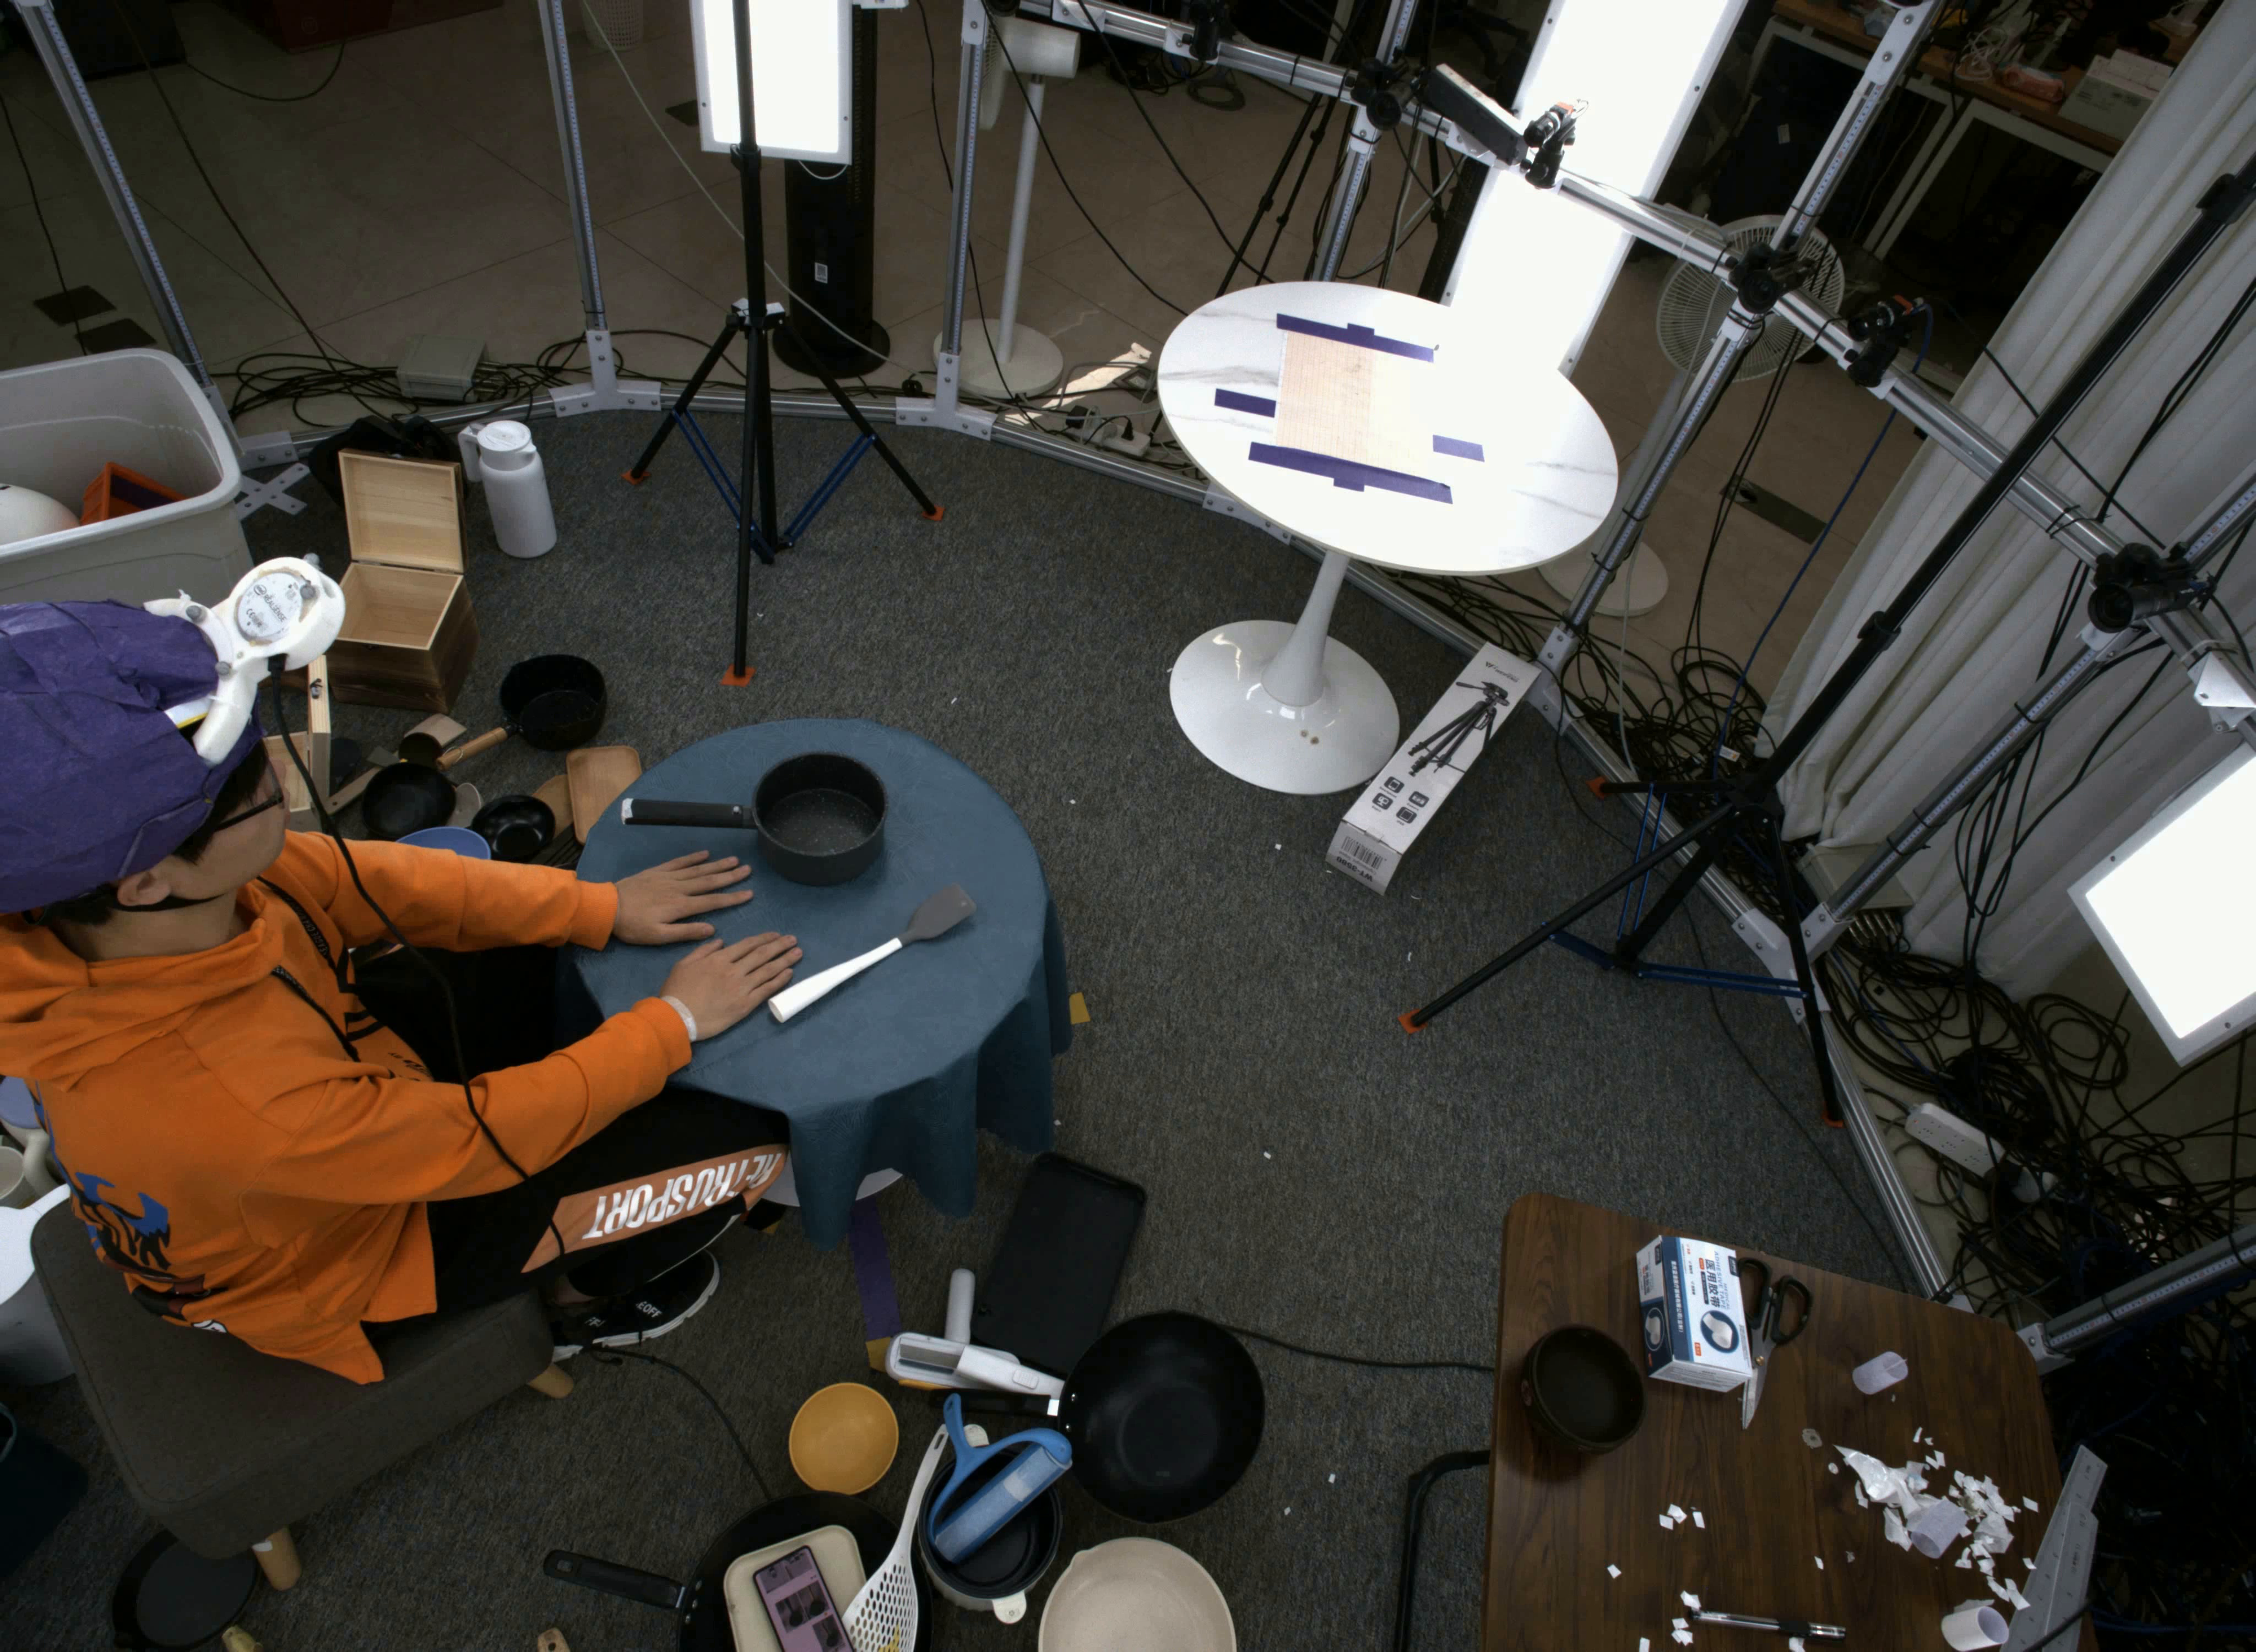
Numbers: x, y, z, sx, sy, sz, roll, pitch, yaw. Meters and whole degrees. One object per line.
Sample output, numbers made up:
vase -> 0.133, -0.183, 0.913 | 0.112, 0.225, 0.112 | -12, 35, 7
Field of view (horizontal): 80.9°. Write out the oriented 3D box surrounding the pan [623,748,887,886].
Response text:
pan -> -0.475, -0.010, 1.653 | 0.330, 0.088, 0.168 | 0, 53, -17

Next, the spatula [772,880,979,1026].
spatula -> -0.310, 0.154, 1.608 | 0.288, 0.033, 0.057 | -32, 62, -31
